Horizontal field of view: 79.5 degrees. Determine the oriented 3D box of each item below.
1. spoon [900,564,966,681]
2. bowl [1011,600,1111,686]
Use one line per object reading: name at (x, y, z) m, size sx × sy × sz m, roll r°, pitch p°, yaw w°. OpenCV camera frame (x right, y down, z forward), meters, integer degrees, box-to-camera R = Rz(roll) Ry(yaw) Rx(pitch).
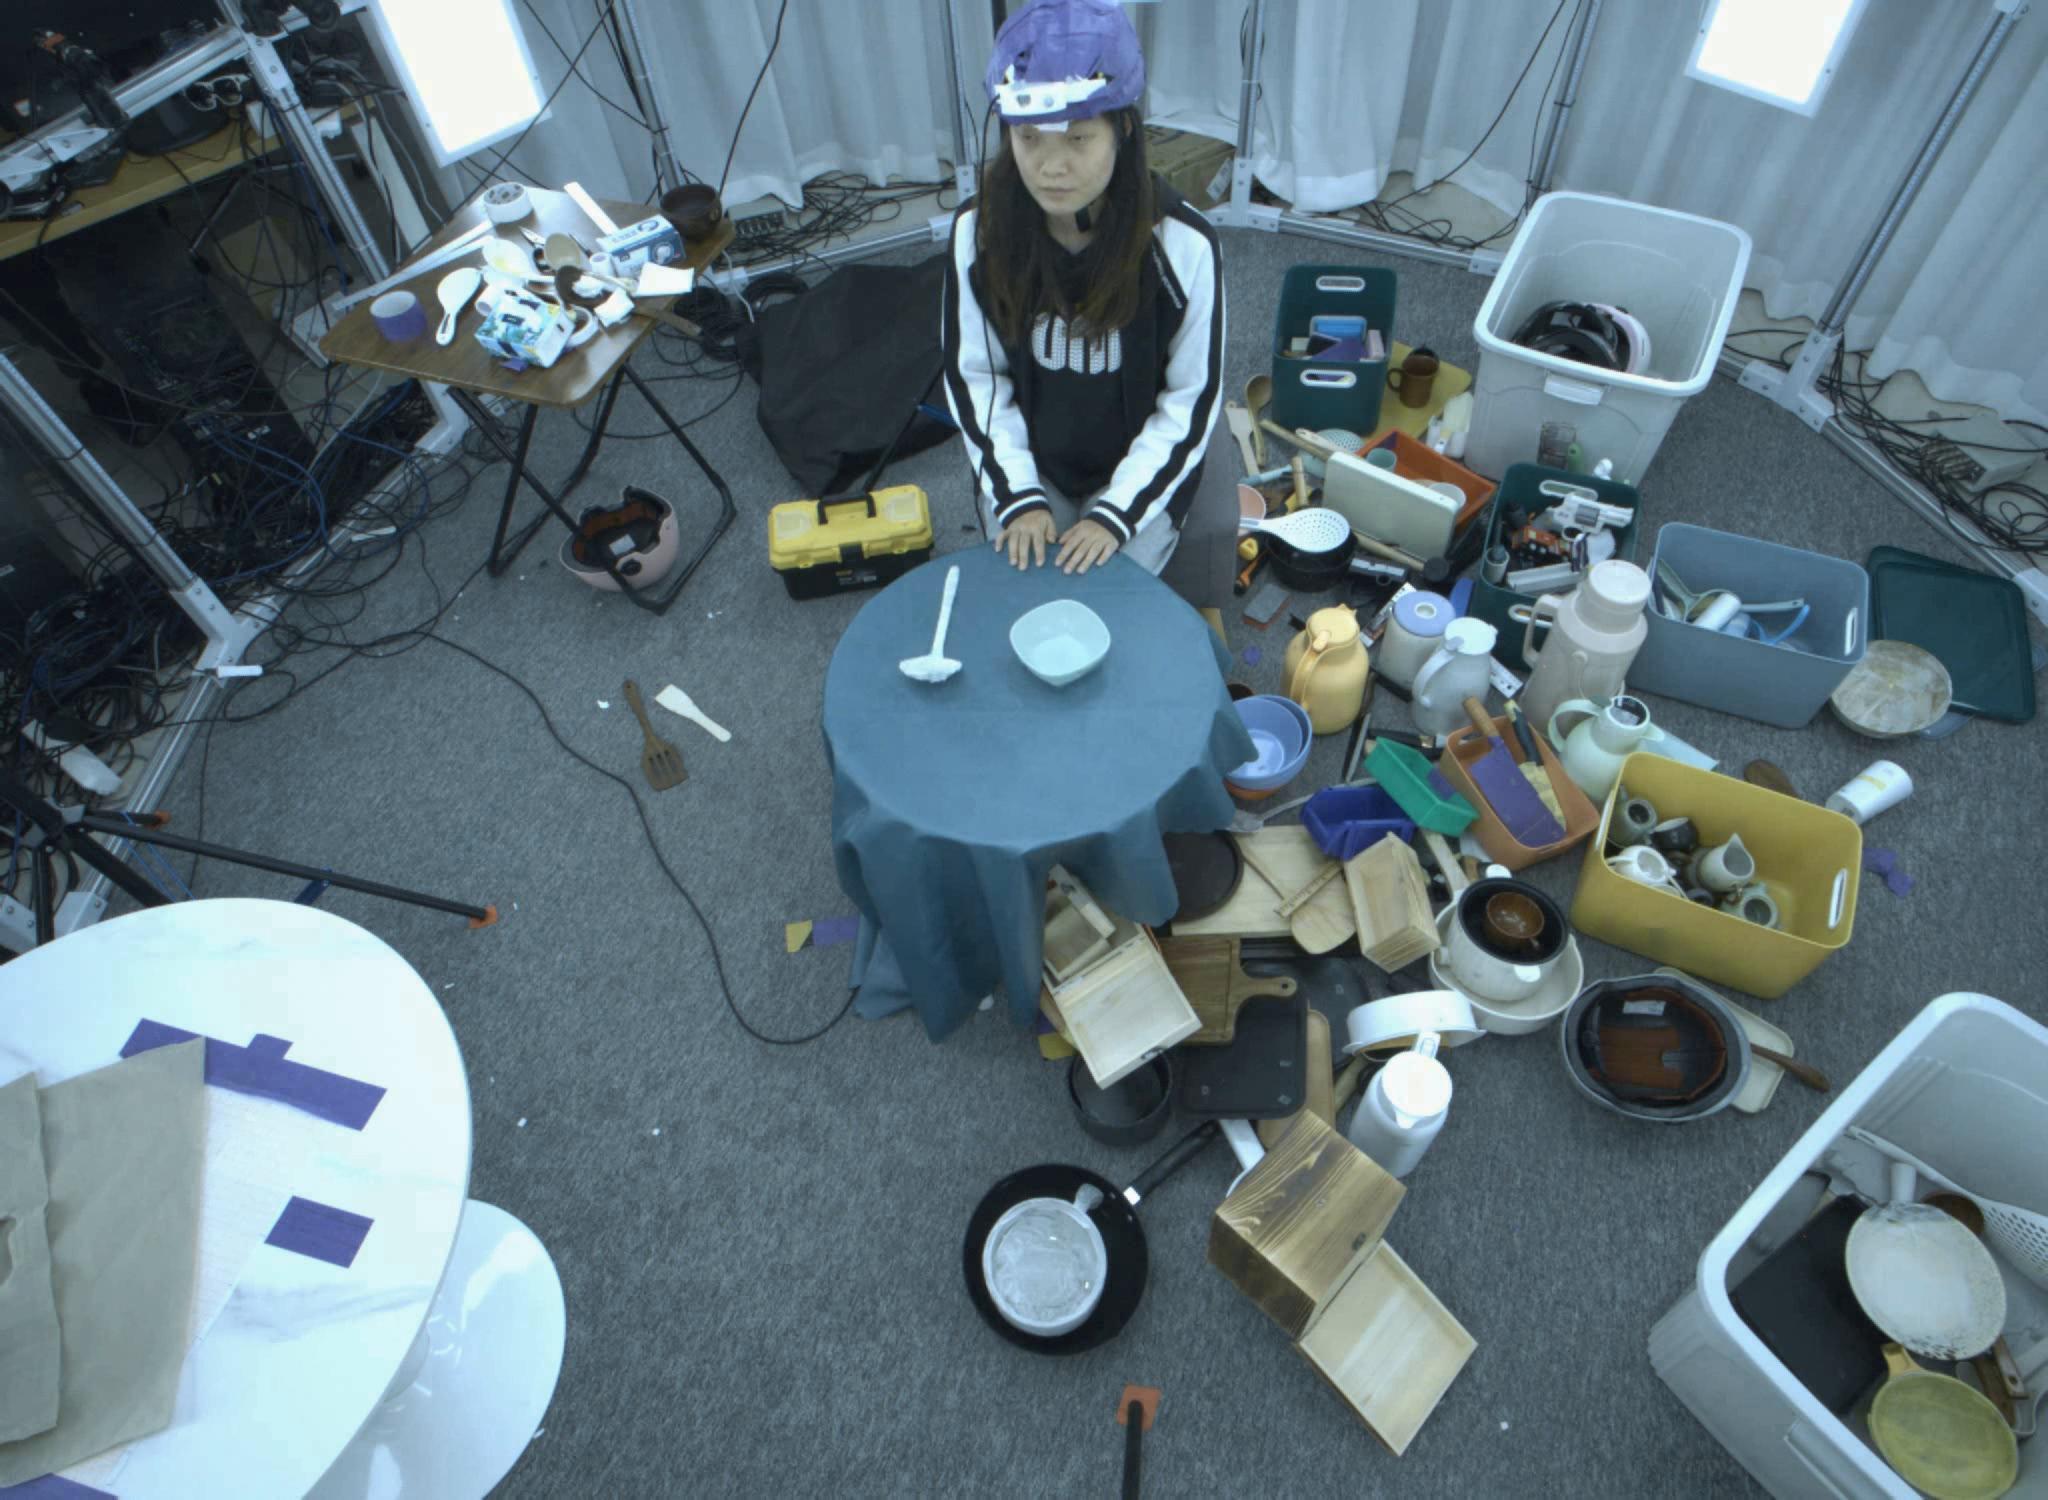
spoon at (-0.120, -0.206, 1.902) m, size 0.100 × 0.060 × 0.276 m, roll 10°, pitch 56°, yaw 4°
bowl at (0.056, -0.153, 1.861) m, size 0.151 × 0.059 × 0.150 m, roll -1°, pitch 55°, yaw 2°
